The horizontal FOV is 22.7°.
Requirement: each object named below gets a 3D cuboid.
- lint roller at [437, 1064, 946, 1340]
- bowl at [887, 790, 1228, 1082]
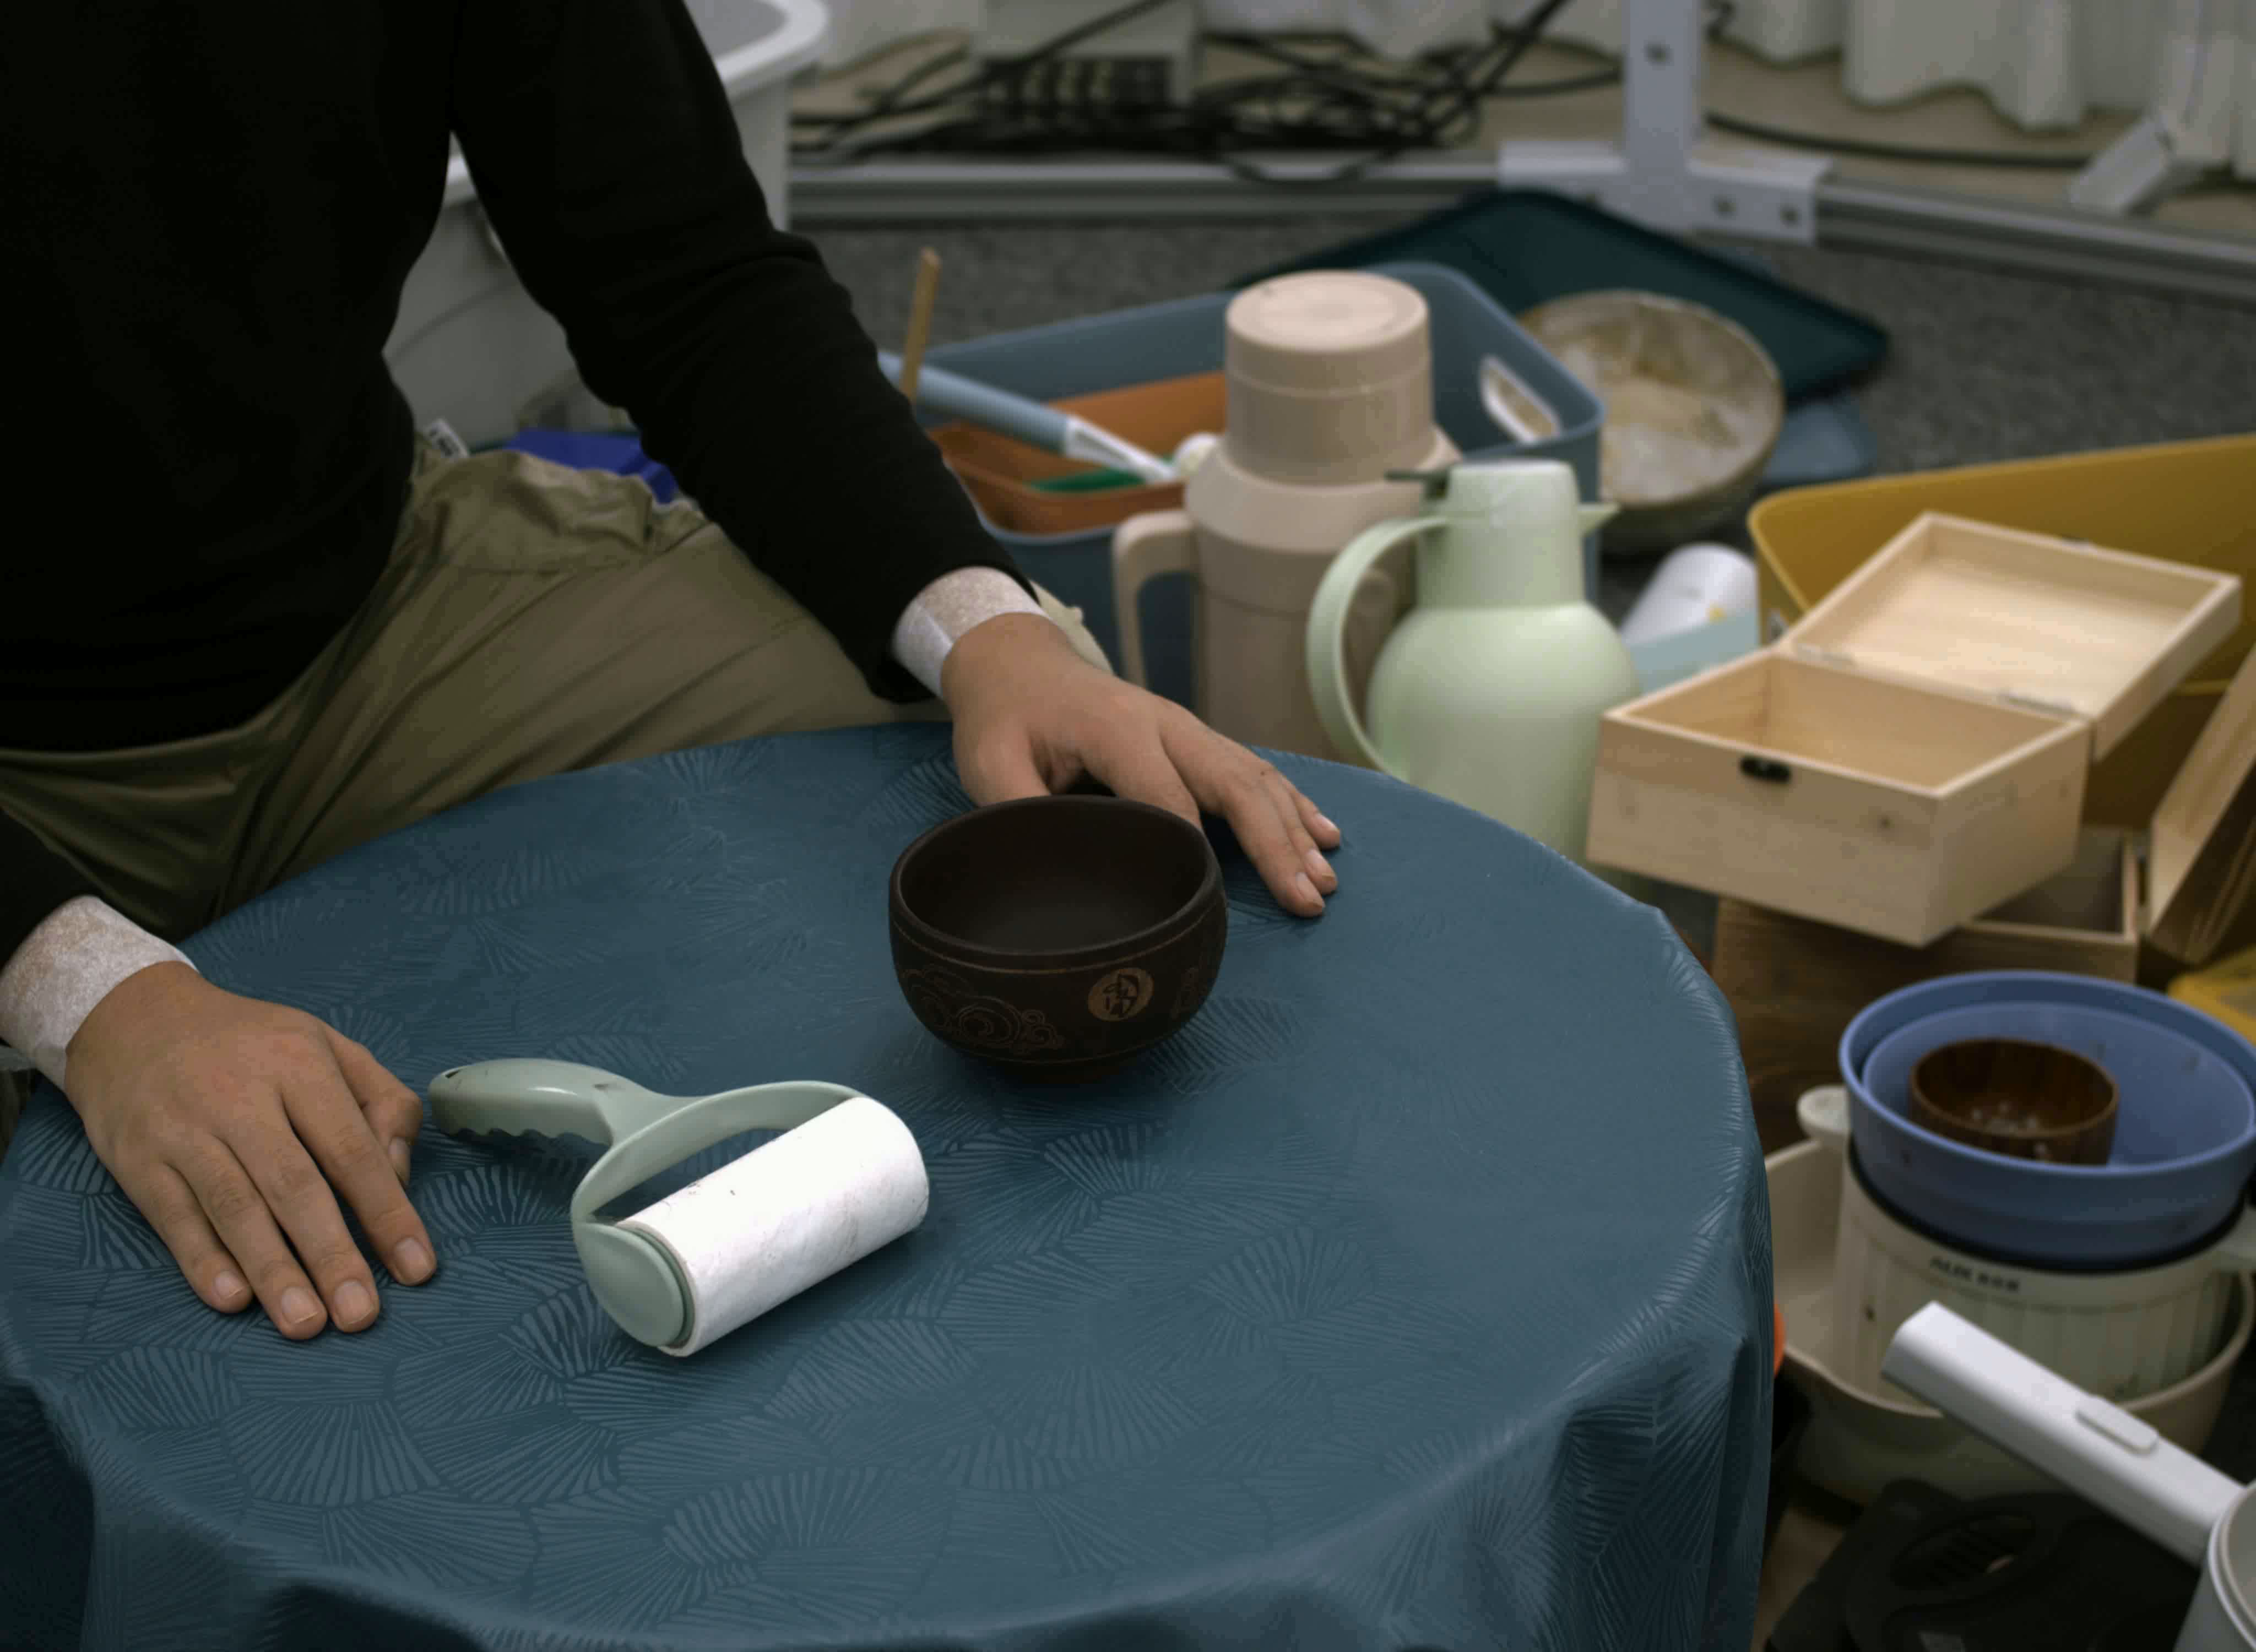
[{"bbox_3d":[-0.161,0.106,1.860,0.197,0.048,0.118,20,36,41],"label":"lint roller"},{"bbox_3d":[-0.023,0.044,1.935,0.117,0.069,0.120,-3,27,2],"label":"bowl"}]
